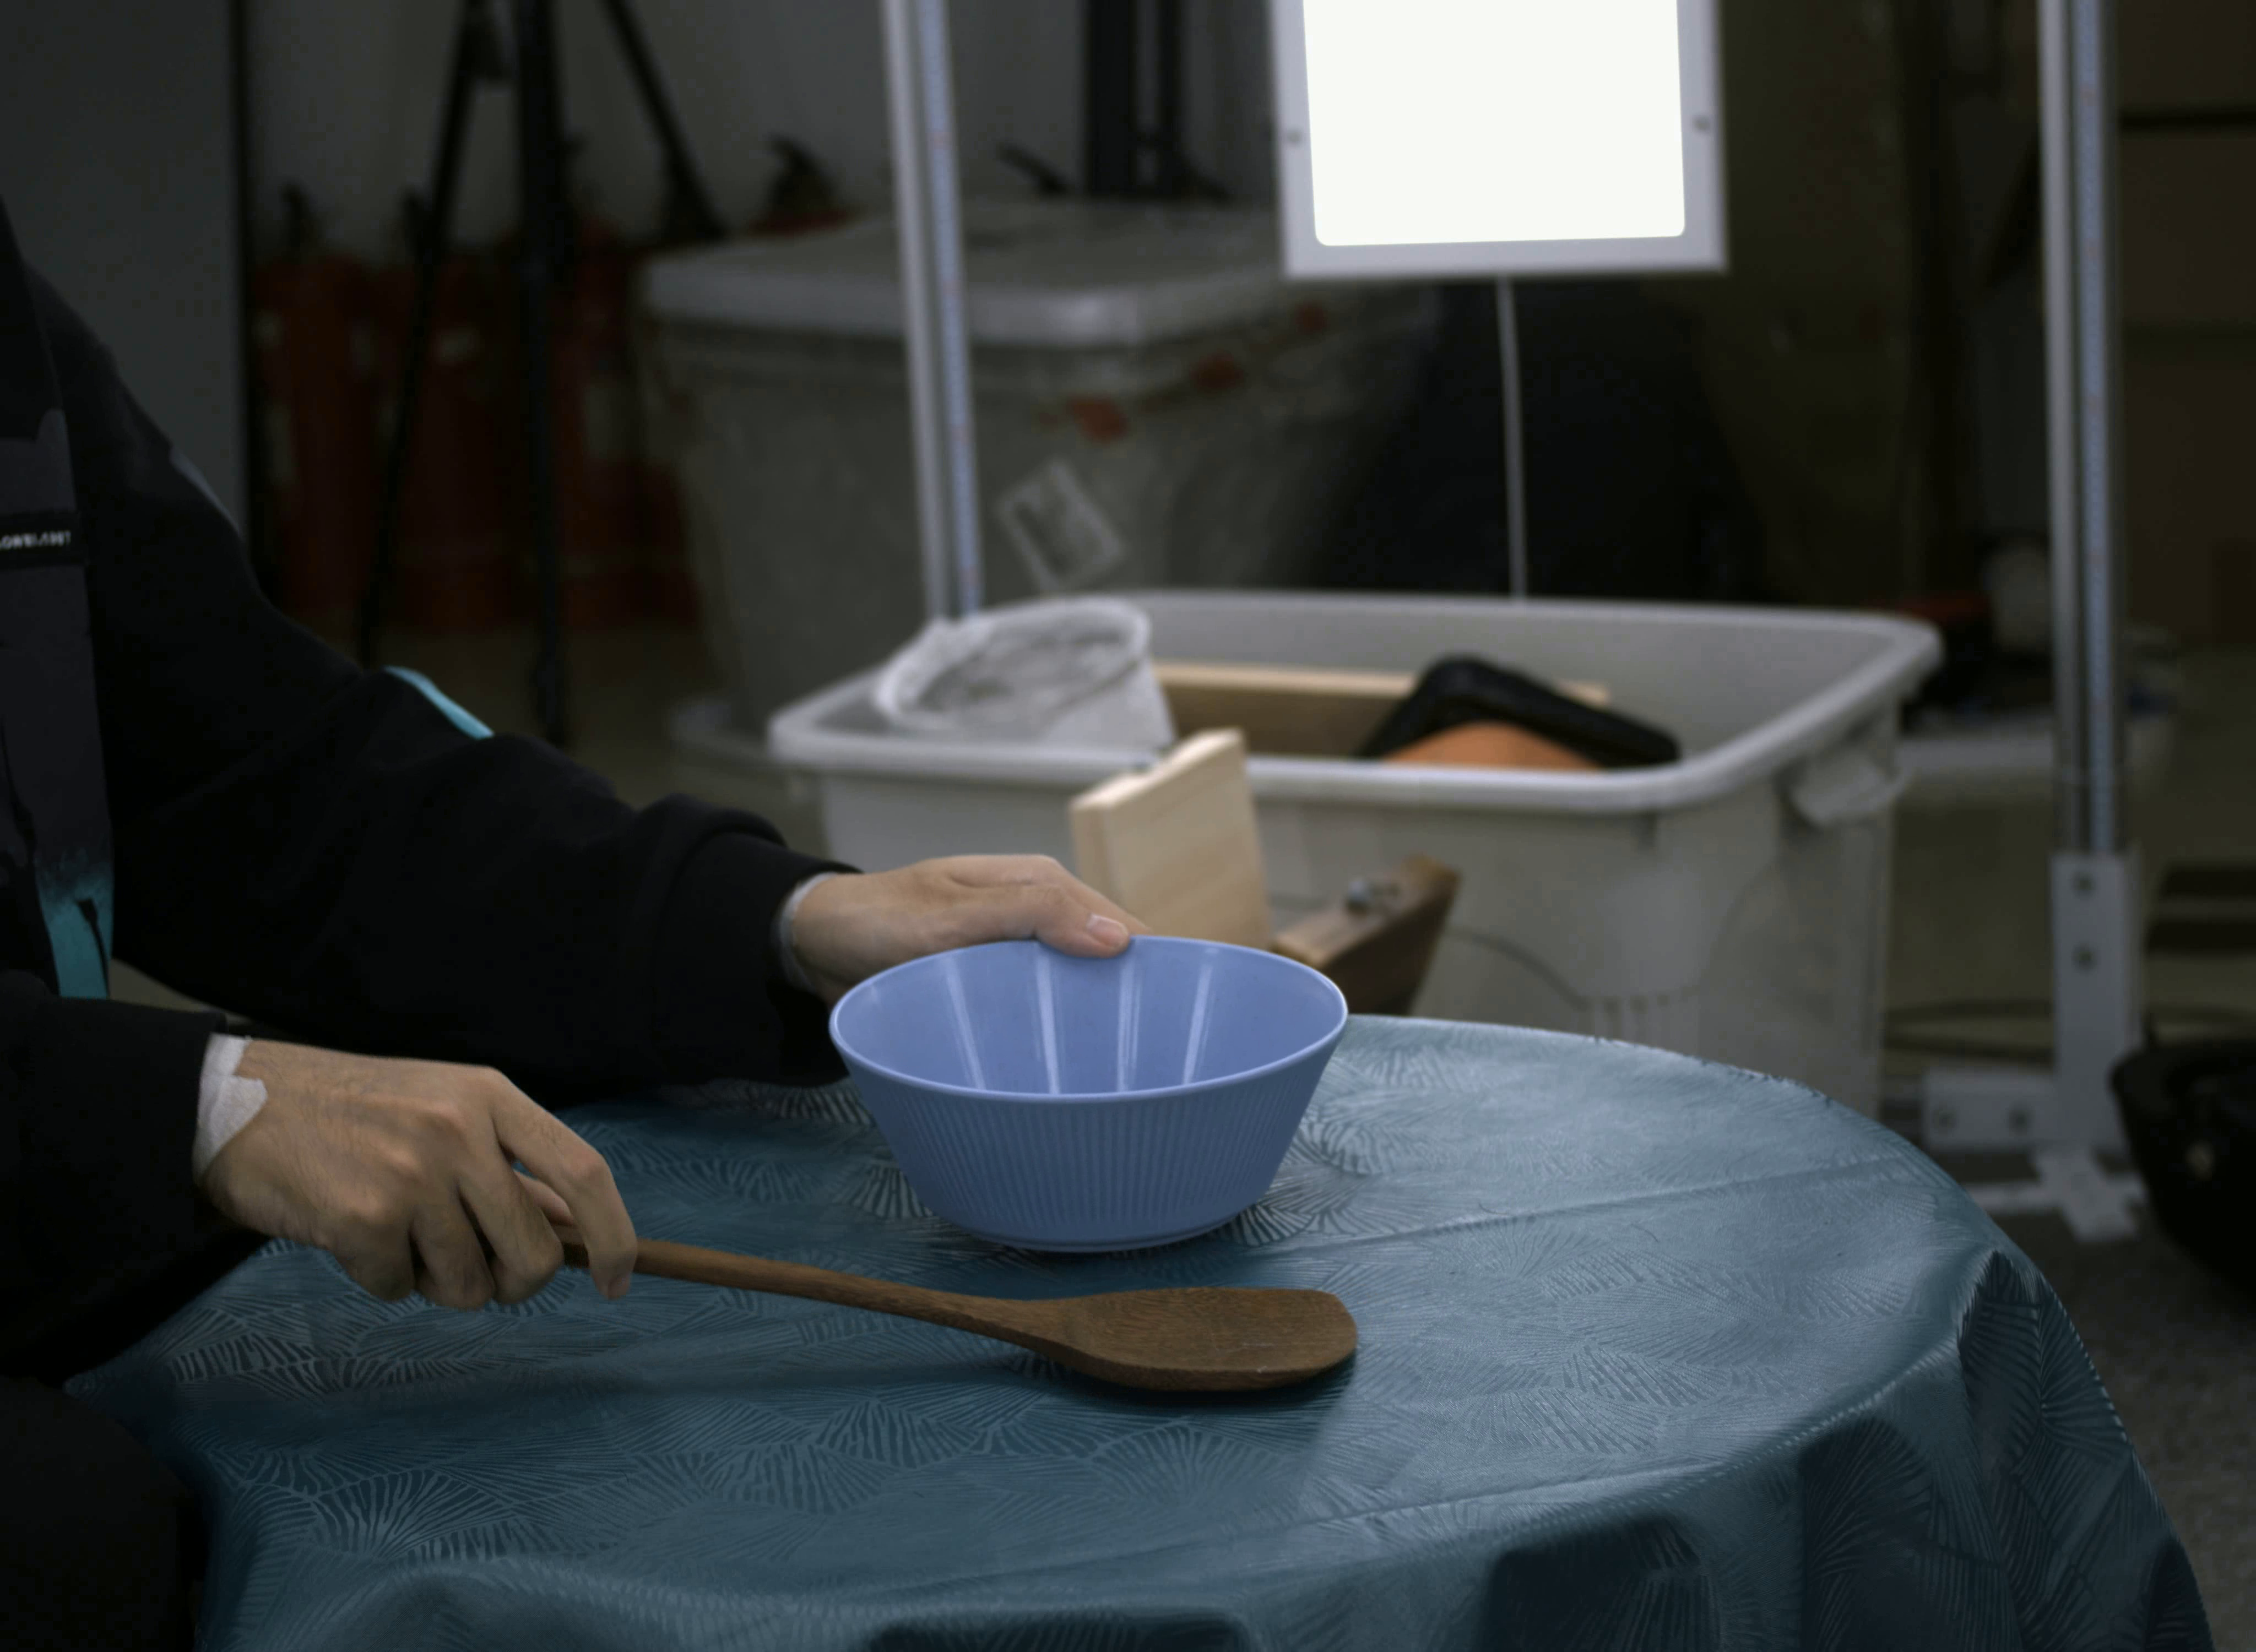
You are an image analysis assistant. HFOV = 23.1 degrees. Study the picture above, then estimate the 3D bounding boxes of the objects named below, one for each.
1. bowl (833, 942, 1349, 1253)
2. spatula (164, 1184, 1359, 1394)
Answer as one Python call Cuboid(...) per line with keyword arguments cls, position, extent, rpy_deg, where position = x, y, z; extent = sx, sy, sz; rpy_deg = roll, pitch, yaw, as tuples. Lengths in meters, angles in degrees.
Cuboid(cls="bowl", position=(-0.011, 0.095, 1.864), extent=(0.175, 0.070, 0.176), rpy_deg=(-3, 15, -1))
Cuboid(cls="spatula", position=(-0.118, 0.142, 1.742), extent=(0.387, 0.016, 0.095), rpy_deg=(7, 13, 8))
